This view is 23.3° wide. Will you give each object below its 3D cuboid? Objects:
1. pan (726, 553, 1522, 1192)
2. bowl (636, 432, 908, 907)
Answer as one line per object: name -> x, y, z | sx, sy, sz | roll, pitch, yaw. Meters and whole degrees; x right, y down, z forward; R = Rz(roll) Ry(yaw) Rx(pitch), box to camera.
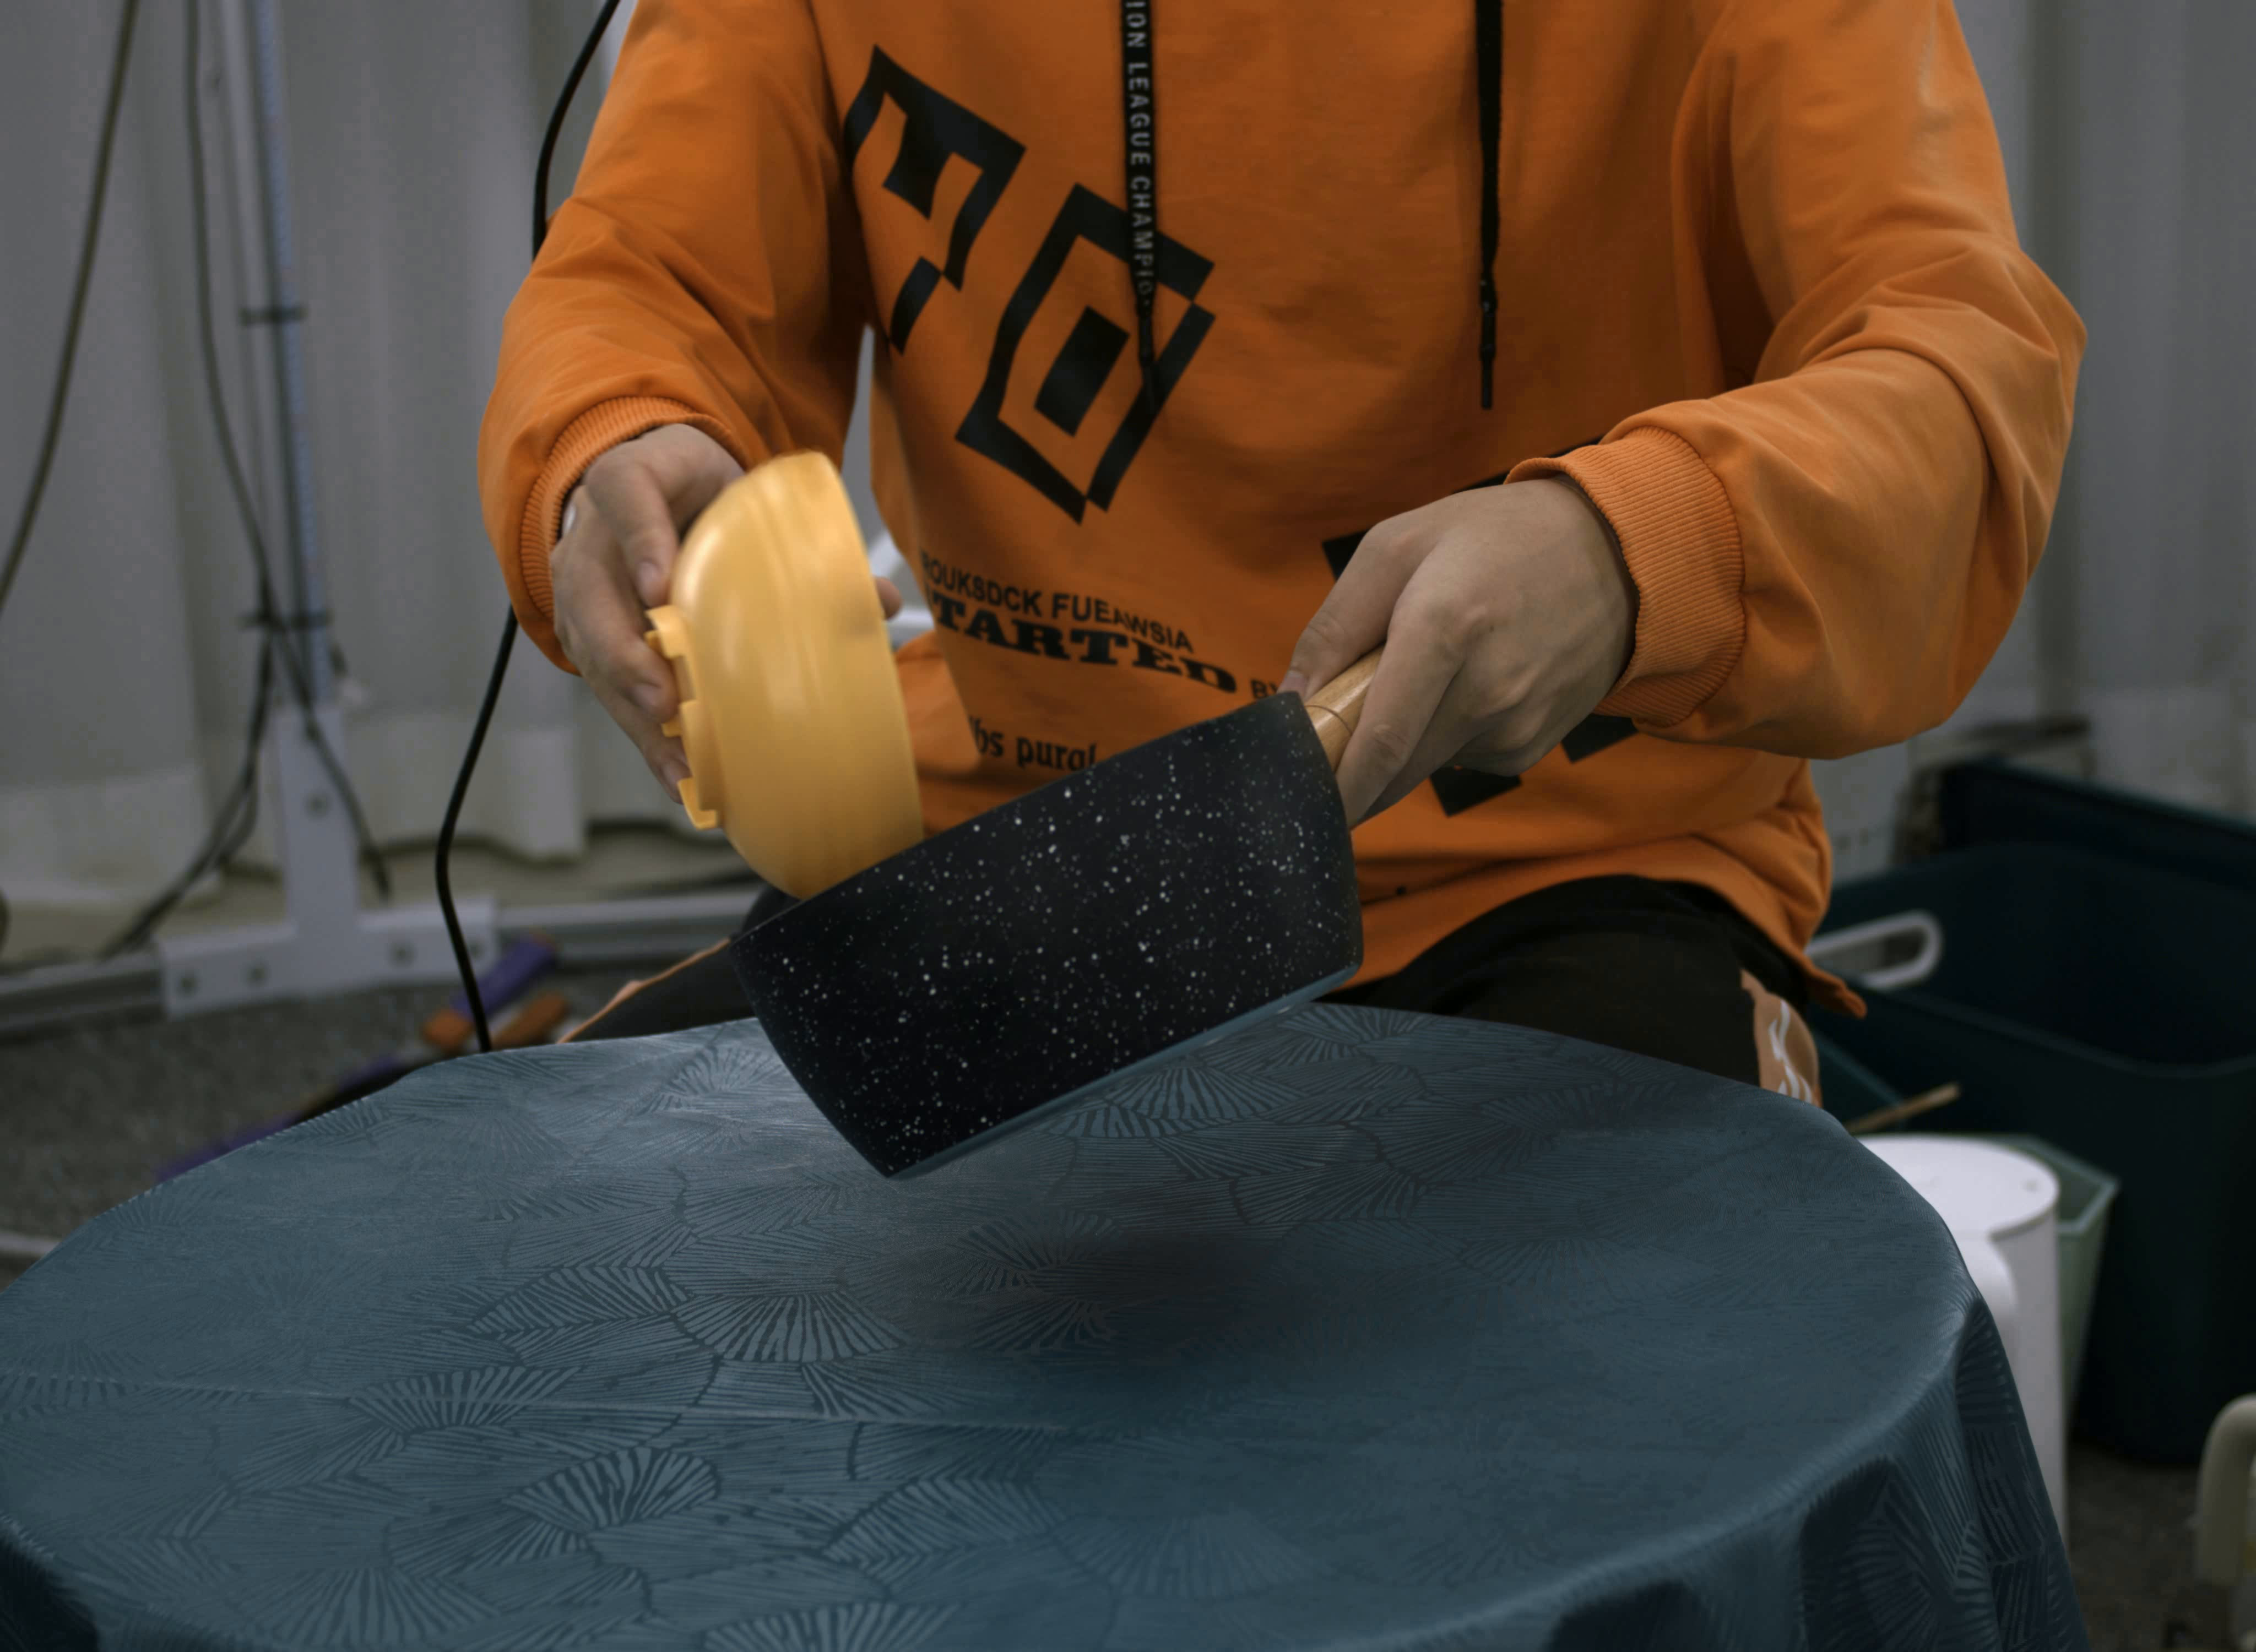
pan -> 0.029, 0.007, 1.656 | 0.206, 0.108, 0.343 | -29, -4, 42
bowl -> -0.108, -0.039, 1.606 | 0.060, 0.144, 0.146 | -13, 16, -10
